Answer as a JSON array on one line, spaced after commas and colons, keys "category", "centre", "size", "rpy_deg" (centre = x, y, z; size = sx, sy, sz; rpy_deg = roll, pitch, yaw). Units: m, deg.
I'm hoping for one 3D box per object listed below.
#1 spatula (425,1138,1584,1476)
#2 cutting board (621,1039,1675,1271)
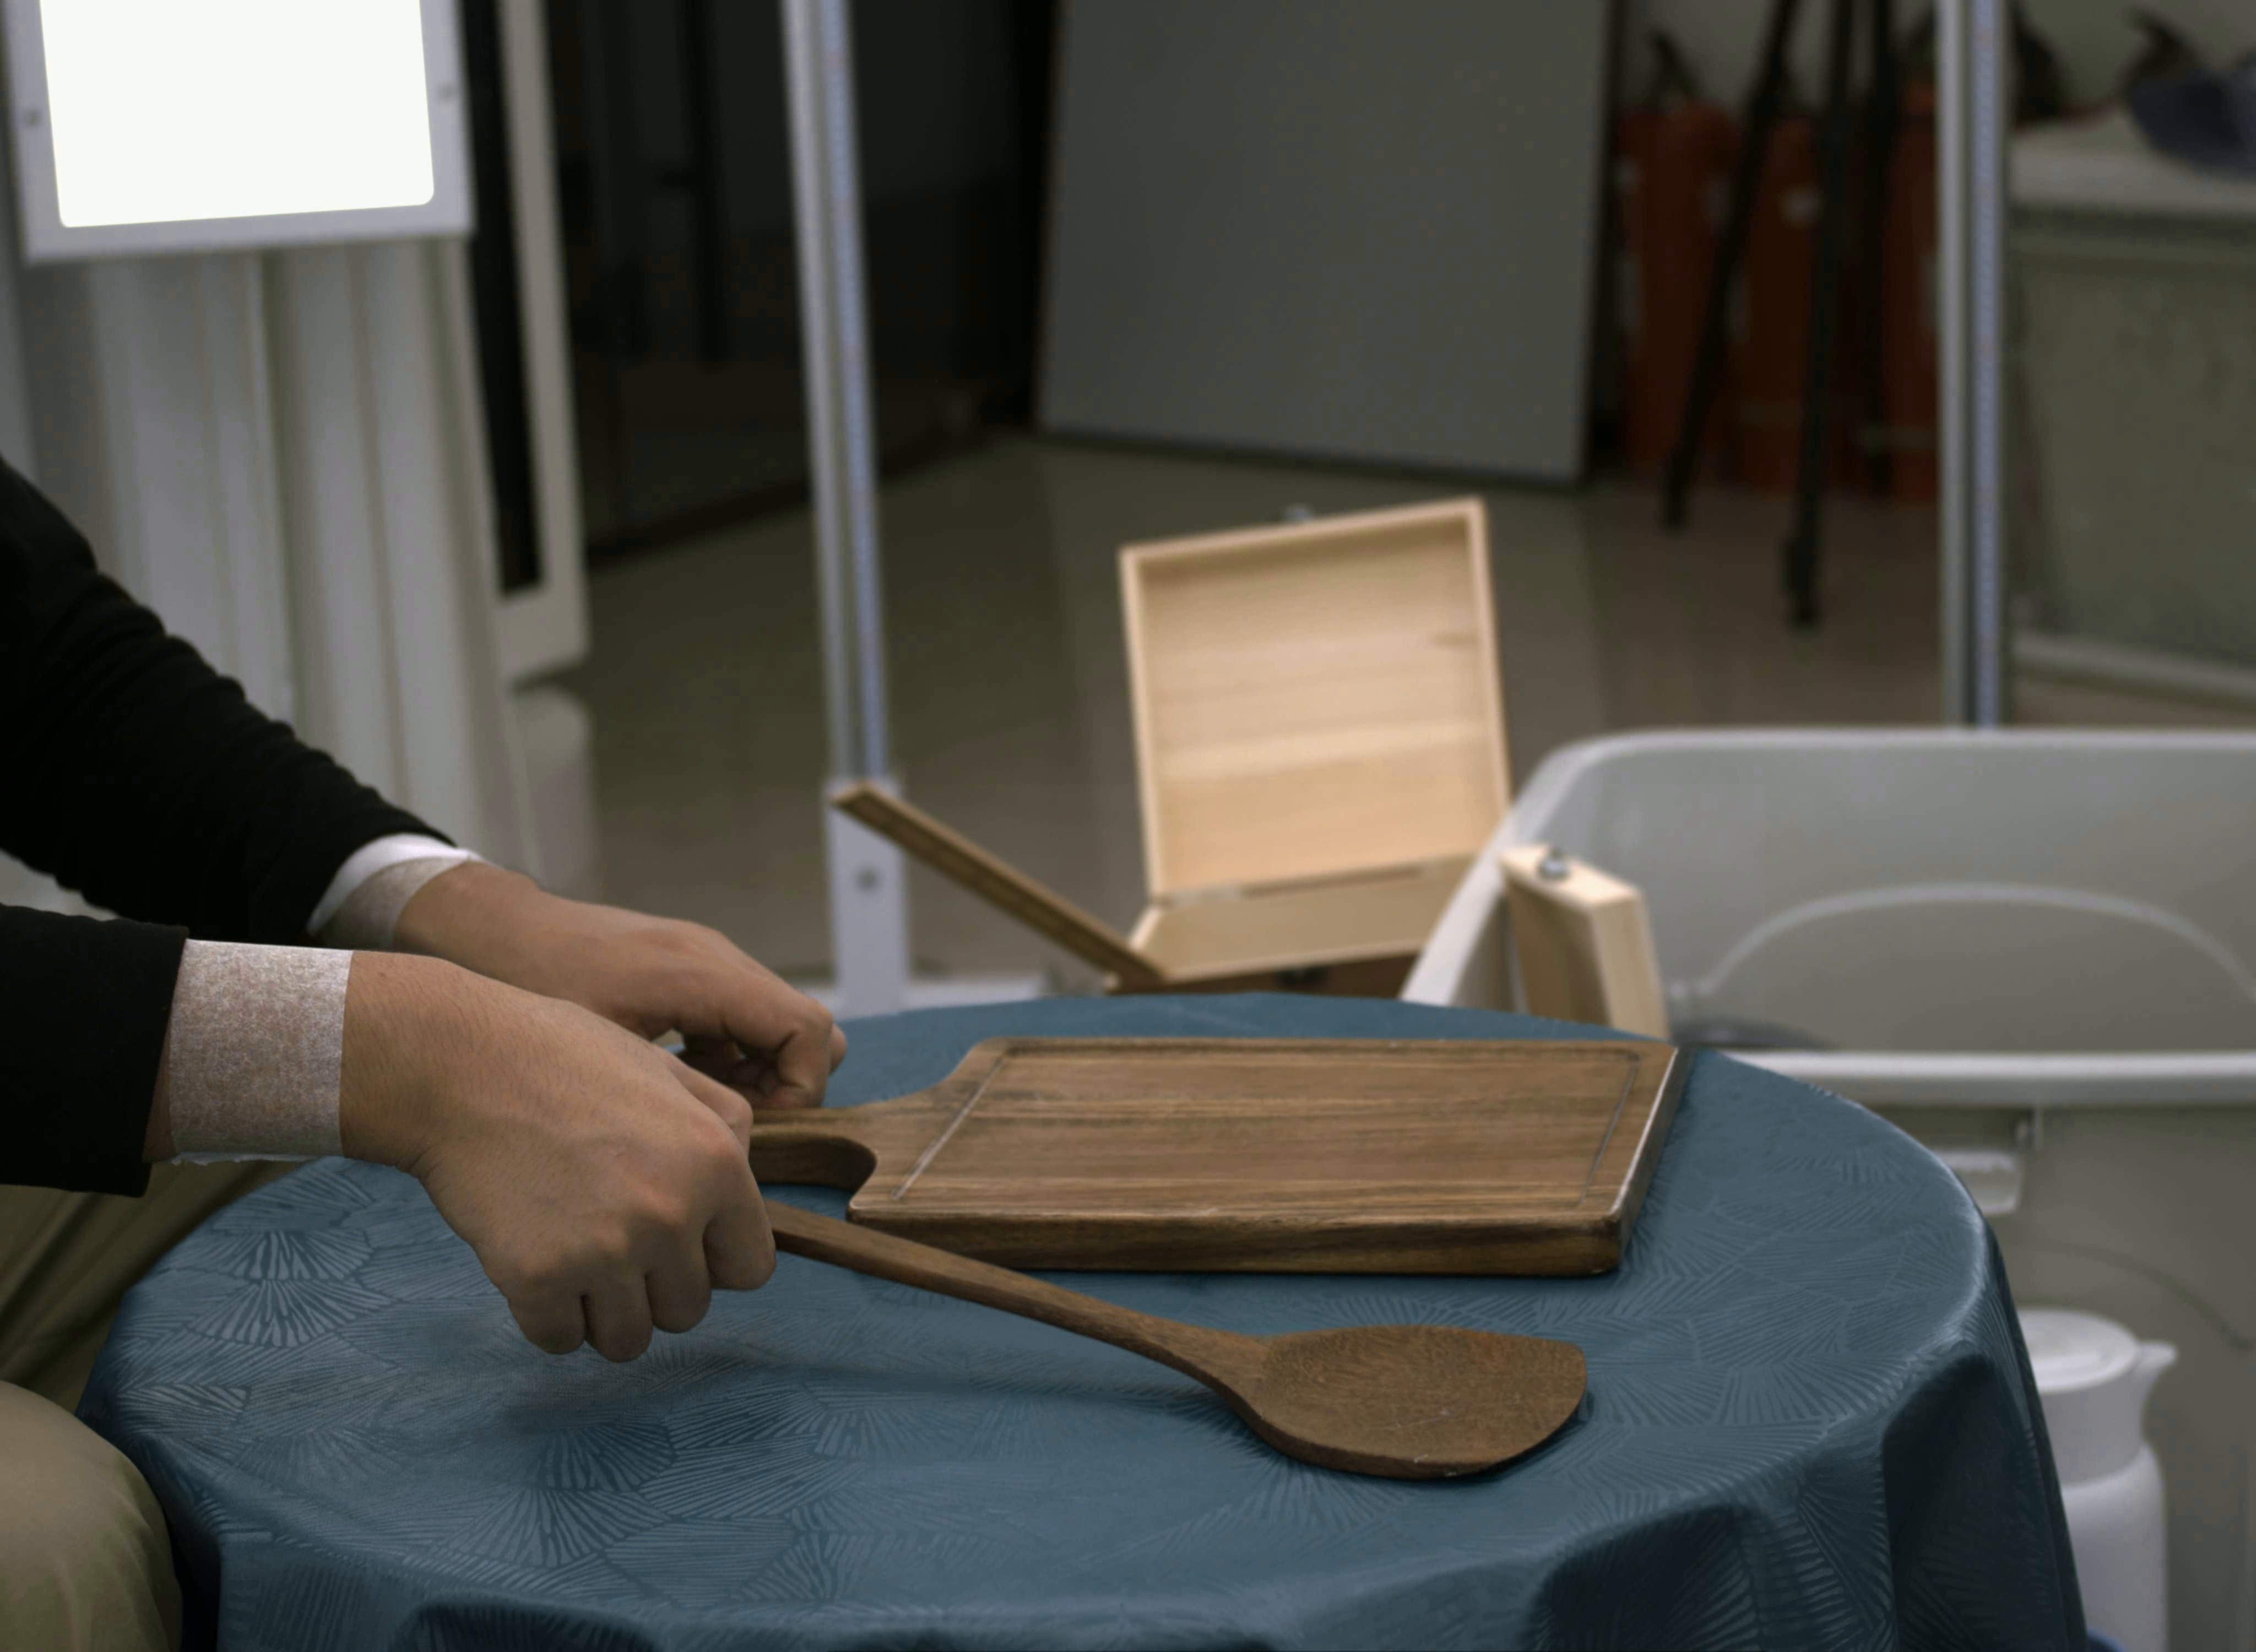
[{"category": "spatula", "centre": [-0.048, 0.137, 1.605], "size": [0.387, 0.016, 0.095], "rpy_deg": [12, 22, 26]}, {"category": "cutting board", "centre": [0.001, 0.107, 1.783], "size": [0.350, 0.023, 0.200], "rpy_deg": [-1, 14, 13]}]
